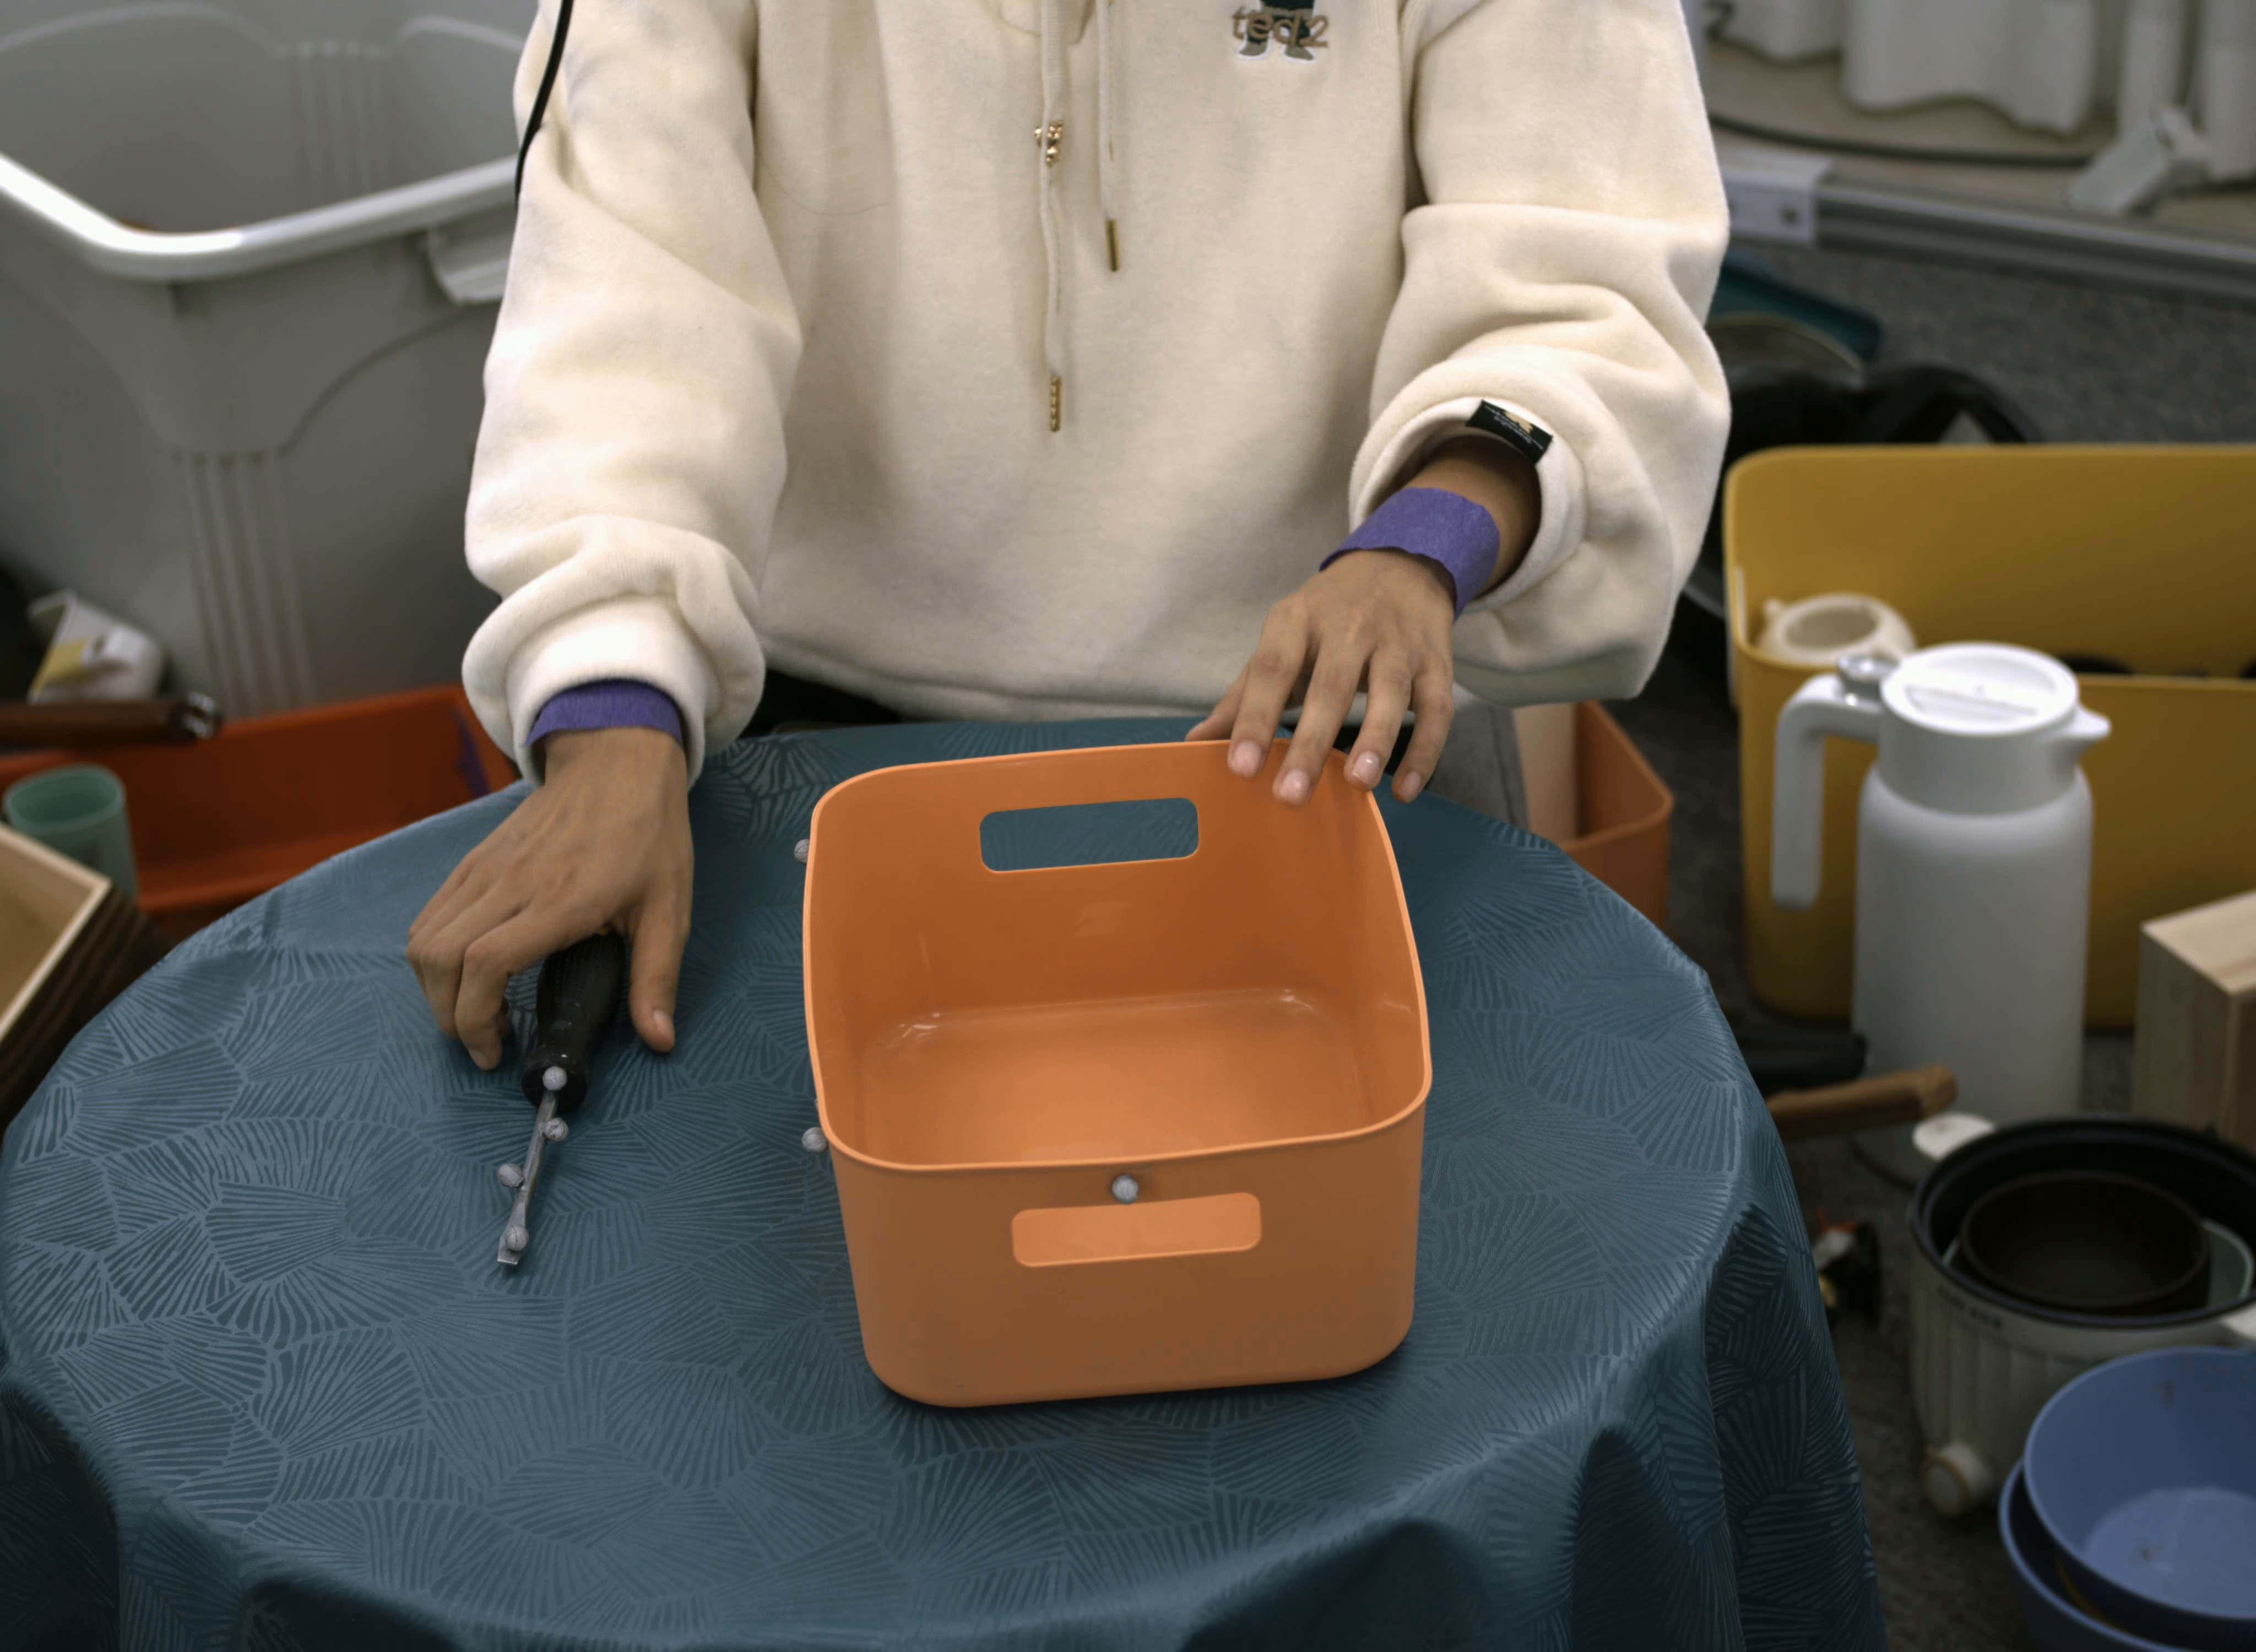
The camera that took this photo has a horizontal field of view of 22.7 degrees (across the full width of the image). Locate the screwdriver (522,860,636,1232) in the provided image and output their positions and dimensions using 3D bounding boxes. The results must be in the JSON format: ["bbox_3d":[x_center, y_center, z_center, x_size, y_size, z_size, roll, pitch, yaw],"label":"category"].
[{"bbox_3d":[-0.188,0.076,1.918,0.031,0.031,0.201,-2,36,1],"label":"screwdriver"}]

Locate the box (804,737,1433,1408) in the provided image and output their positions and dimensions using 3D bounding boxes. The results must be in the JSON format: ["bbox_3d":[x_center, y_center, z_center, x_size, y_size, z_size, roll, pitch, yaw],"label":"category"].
[{"bbox_3d":[-0.003,0.079,1.832,0.198,0.101,0.277,-5,27,-2],"label":"box"}]
